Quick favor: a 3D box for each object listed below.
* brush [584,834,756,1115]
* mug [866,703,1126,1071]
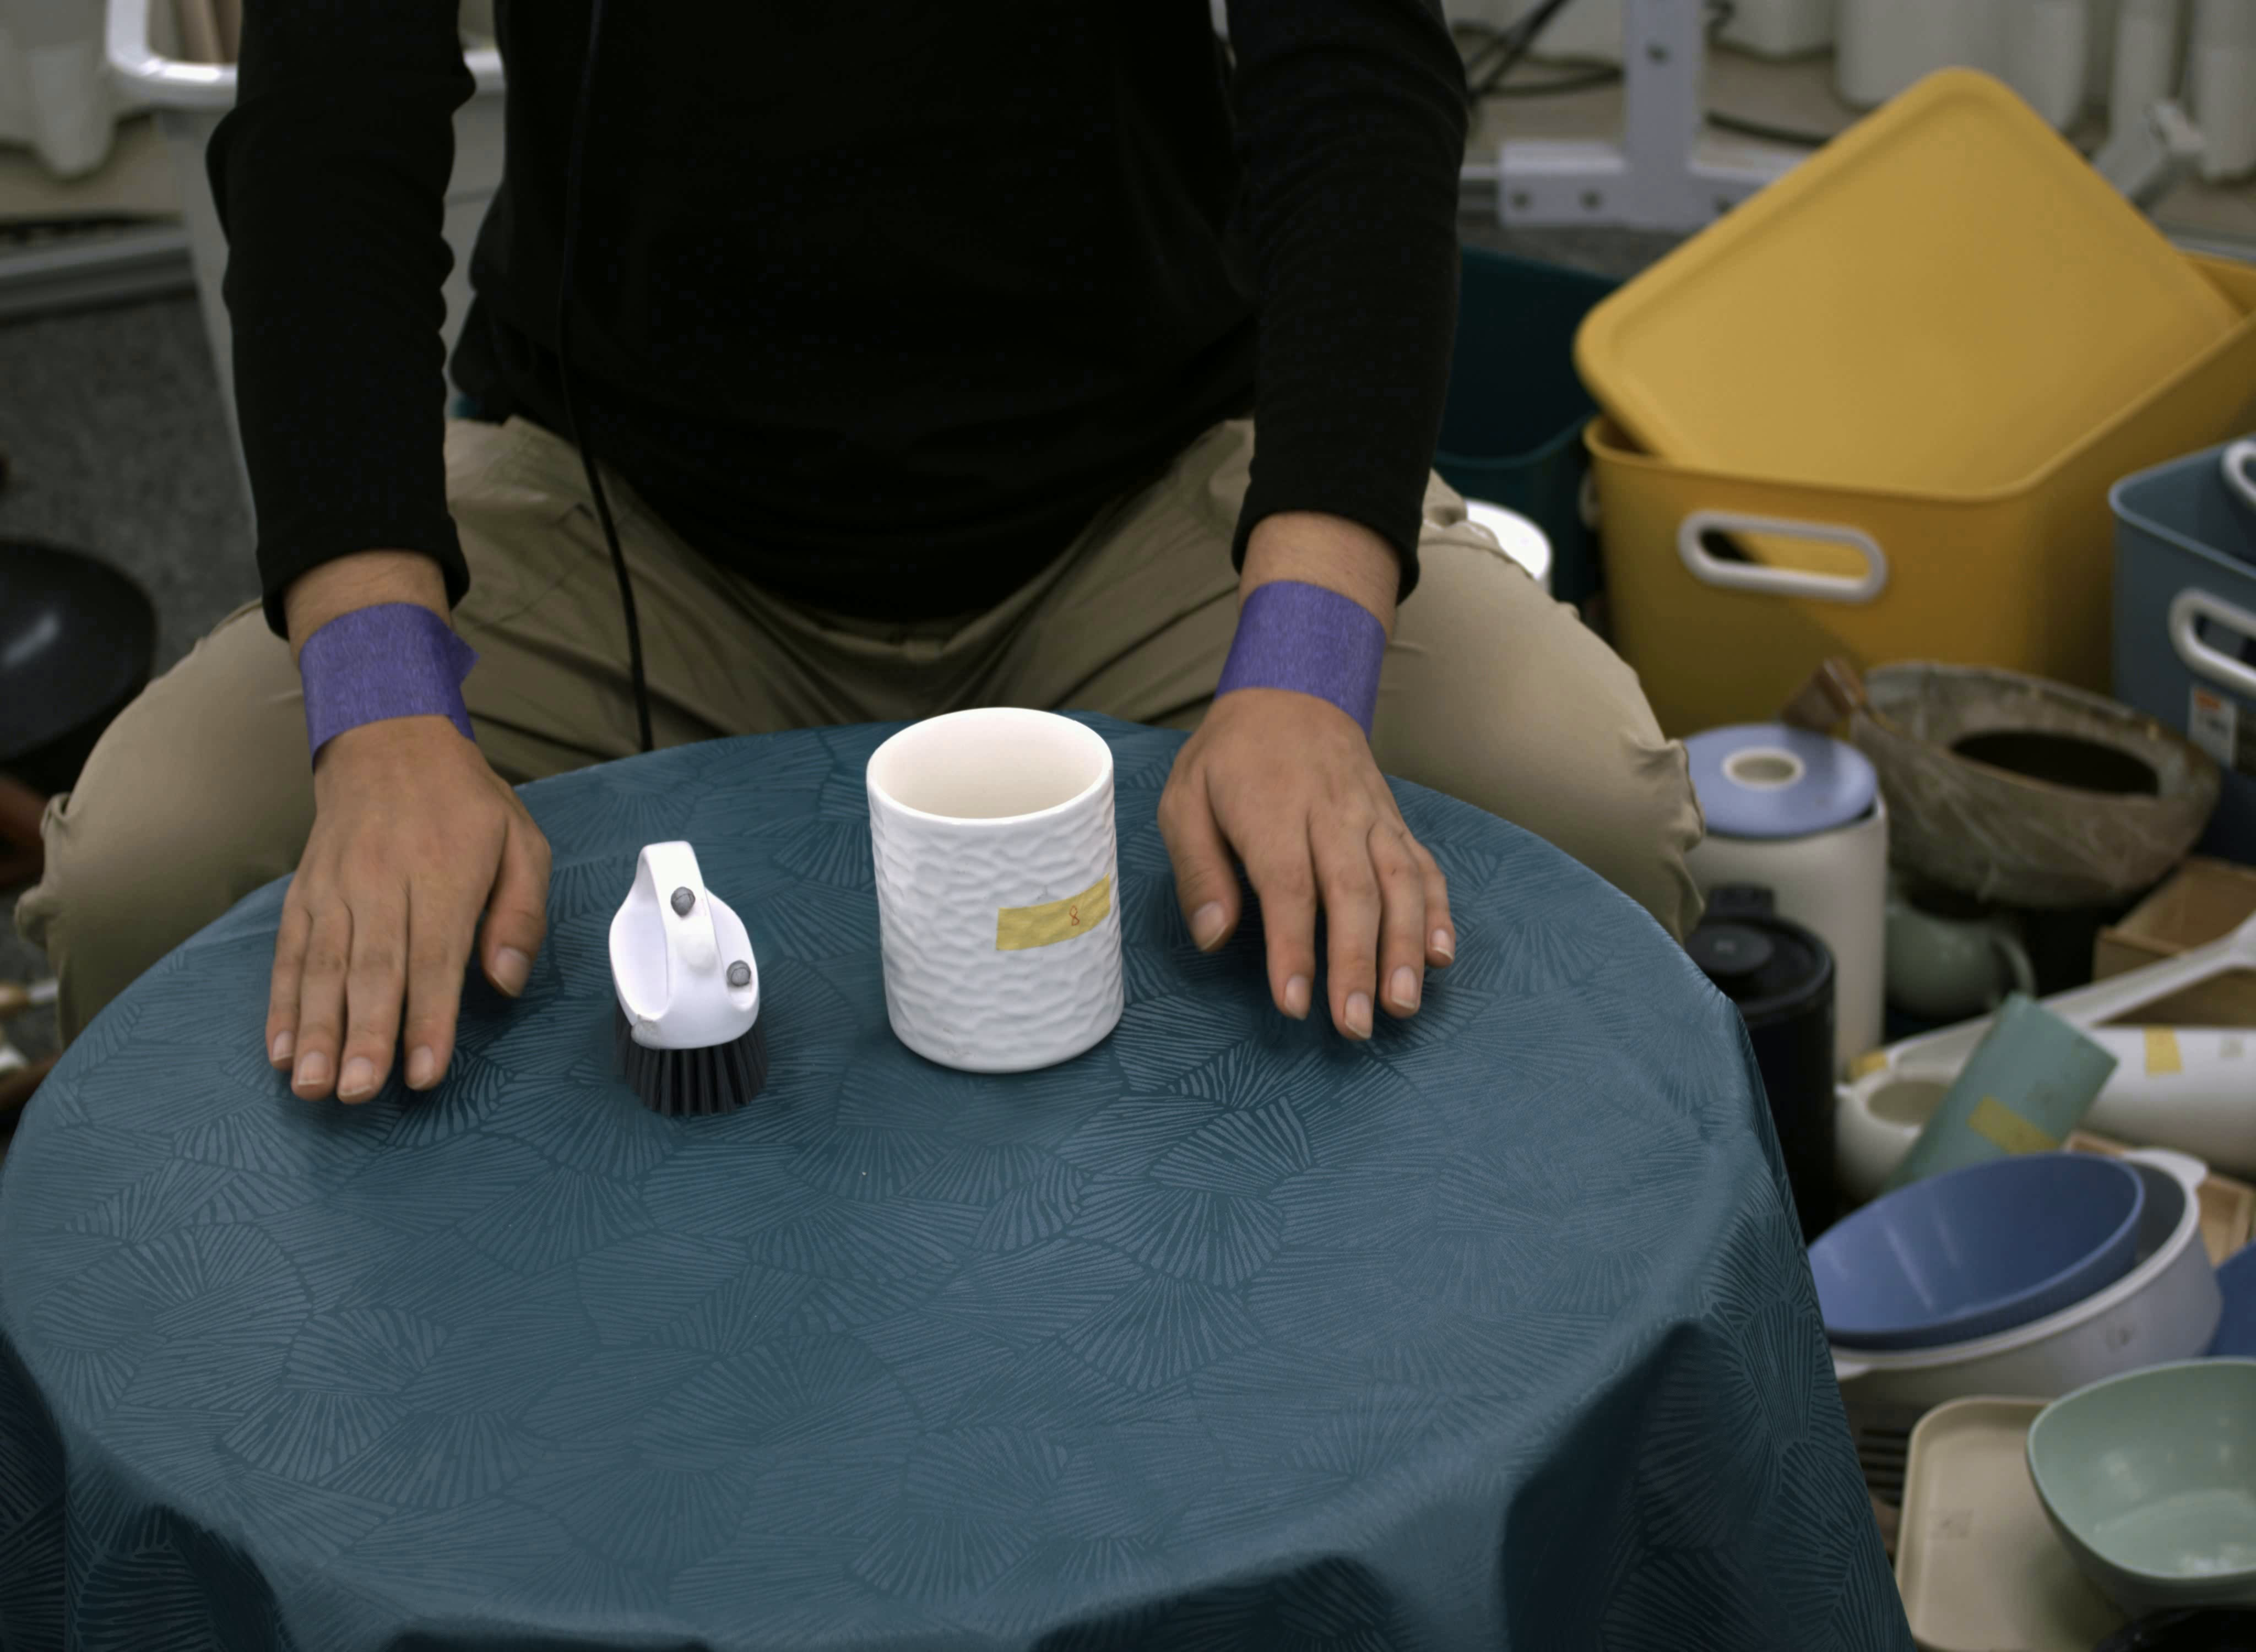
[{"bbox_3d":[-0.159,0.045,1.945,0.050,0.071,0.100,-7,32,-19],"label":"brush"},{"bbox_3d":[-0.048,0.015,1.960,0.085,0.101,0.119,-9,27,-11],"label":"mug"}]
